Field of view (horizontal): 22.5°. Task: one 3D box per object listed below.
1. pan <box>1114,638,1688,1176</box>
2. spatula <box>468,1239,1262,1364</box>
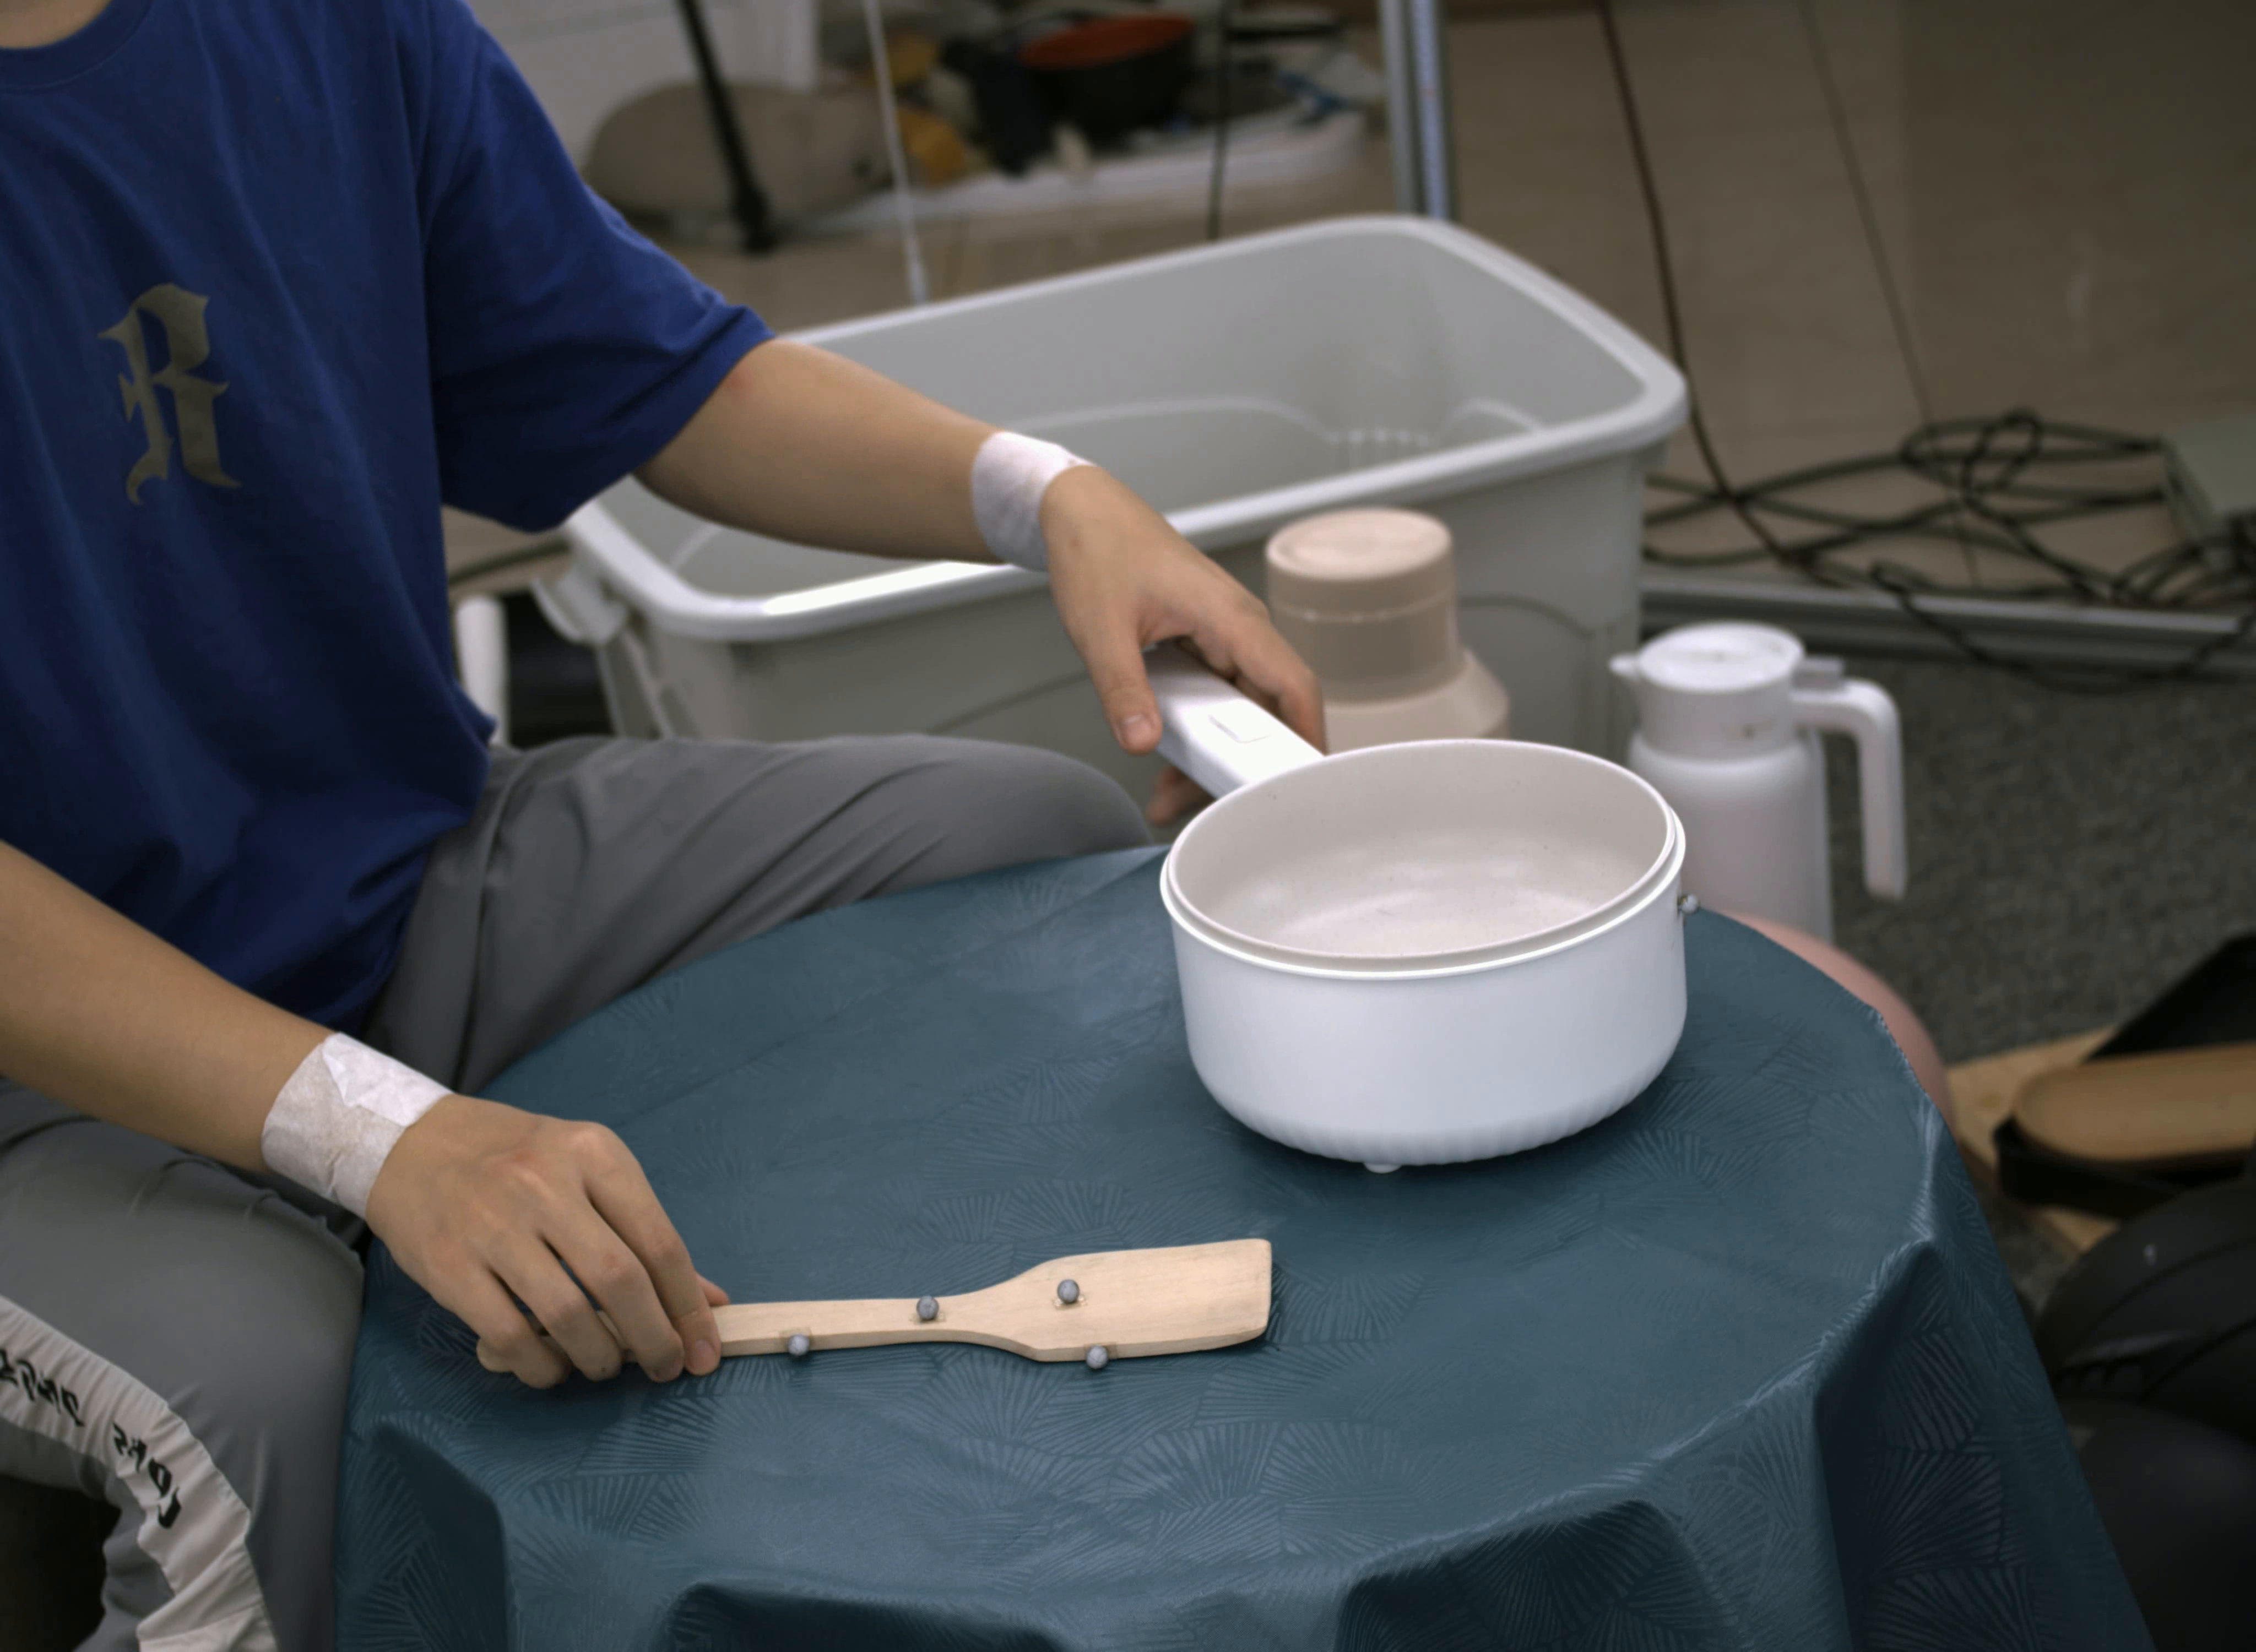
[{"bbox_3d":[0.085,0.027,2.248,0.200,0.104,0.350,-18,27,-19],"label":"pan"},{"bbox_3d":[-0.097,0.180,2.071,0.292,0.011,0.071,-4,25,4],"label":"spatula"}]
